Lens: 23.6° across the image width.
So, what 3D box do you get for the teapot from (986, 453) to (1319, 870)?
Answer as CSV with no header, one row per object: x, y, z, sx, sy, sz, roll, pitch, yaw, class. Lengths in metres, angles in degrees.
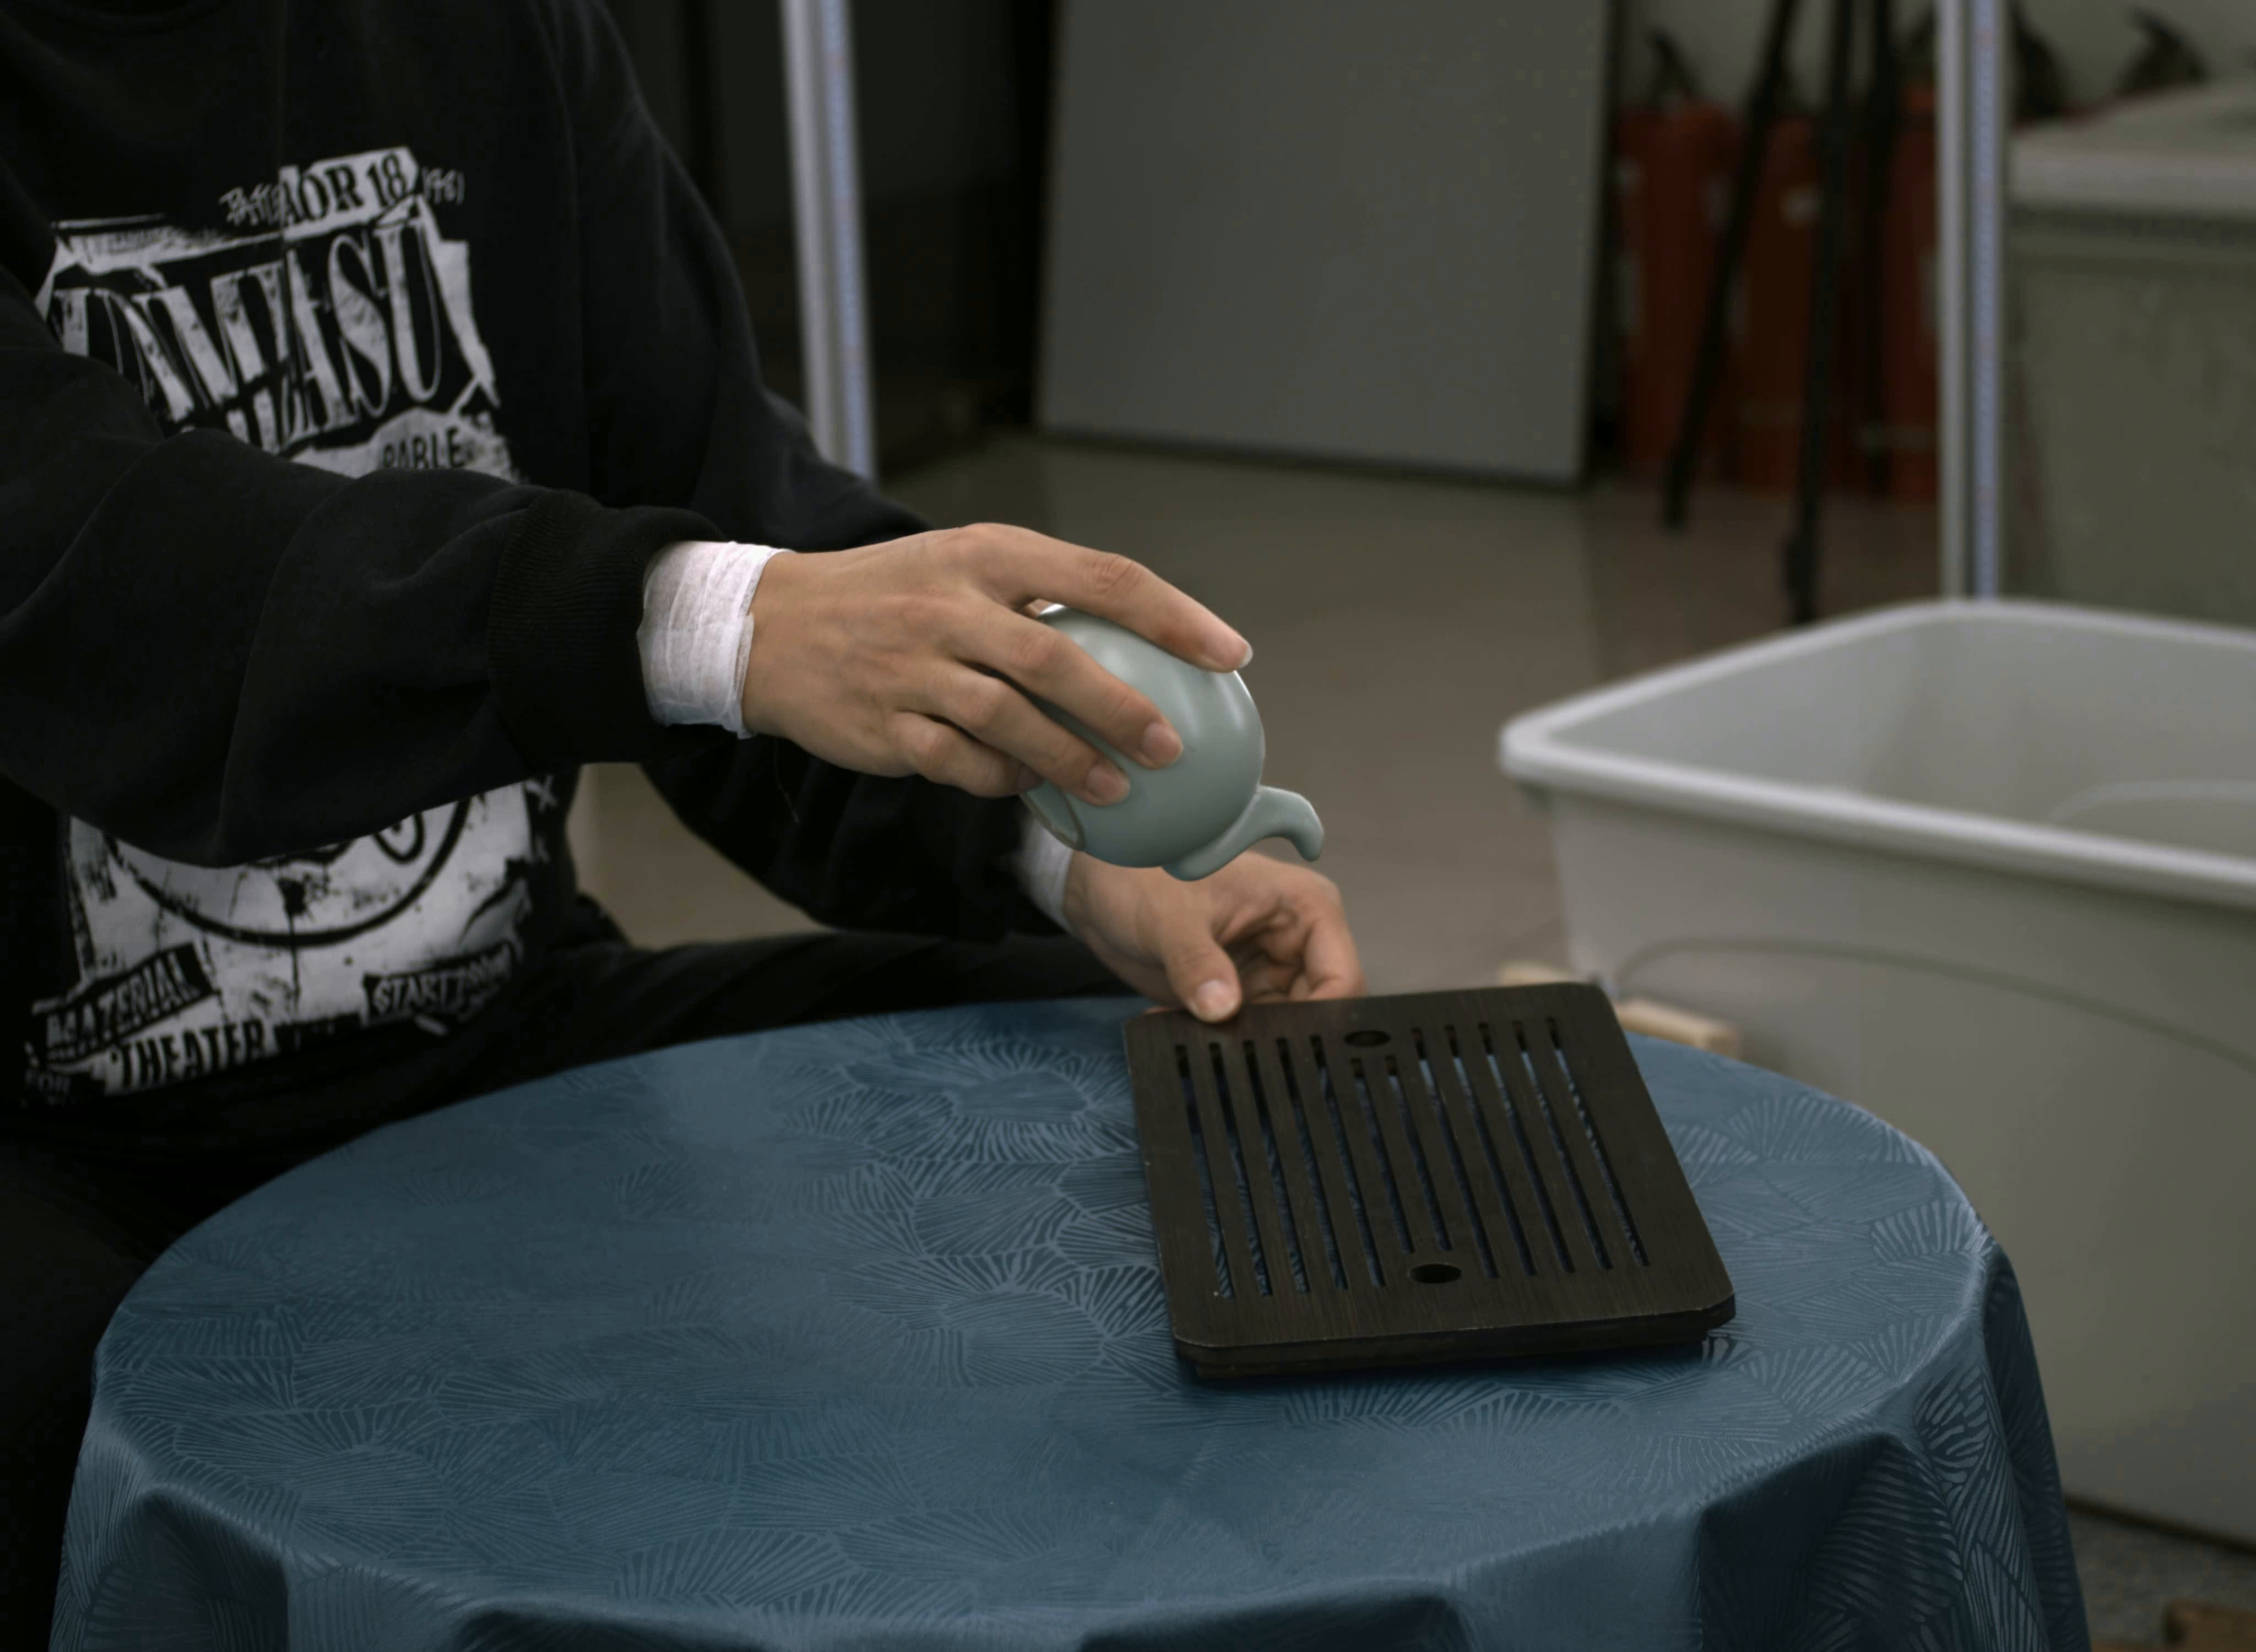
-0.001,-0.035,1.634,0.074,0.144,0.089,-34,16,-15,teapot

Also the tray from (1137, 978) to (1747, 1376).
0.093,0.110,1.725,0.168,0.019,0.307,-5,17,-1,tray
